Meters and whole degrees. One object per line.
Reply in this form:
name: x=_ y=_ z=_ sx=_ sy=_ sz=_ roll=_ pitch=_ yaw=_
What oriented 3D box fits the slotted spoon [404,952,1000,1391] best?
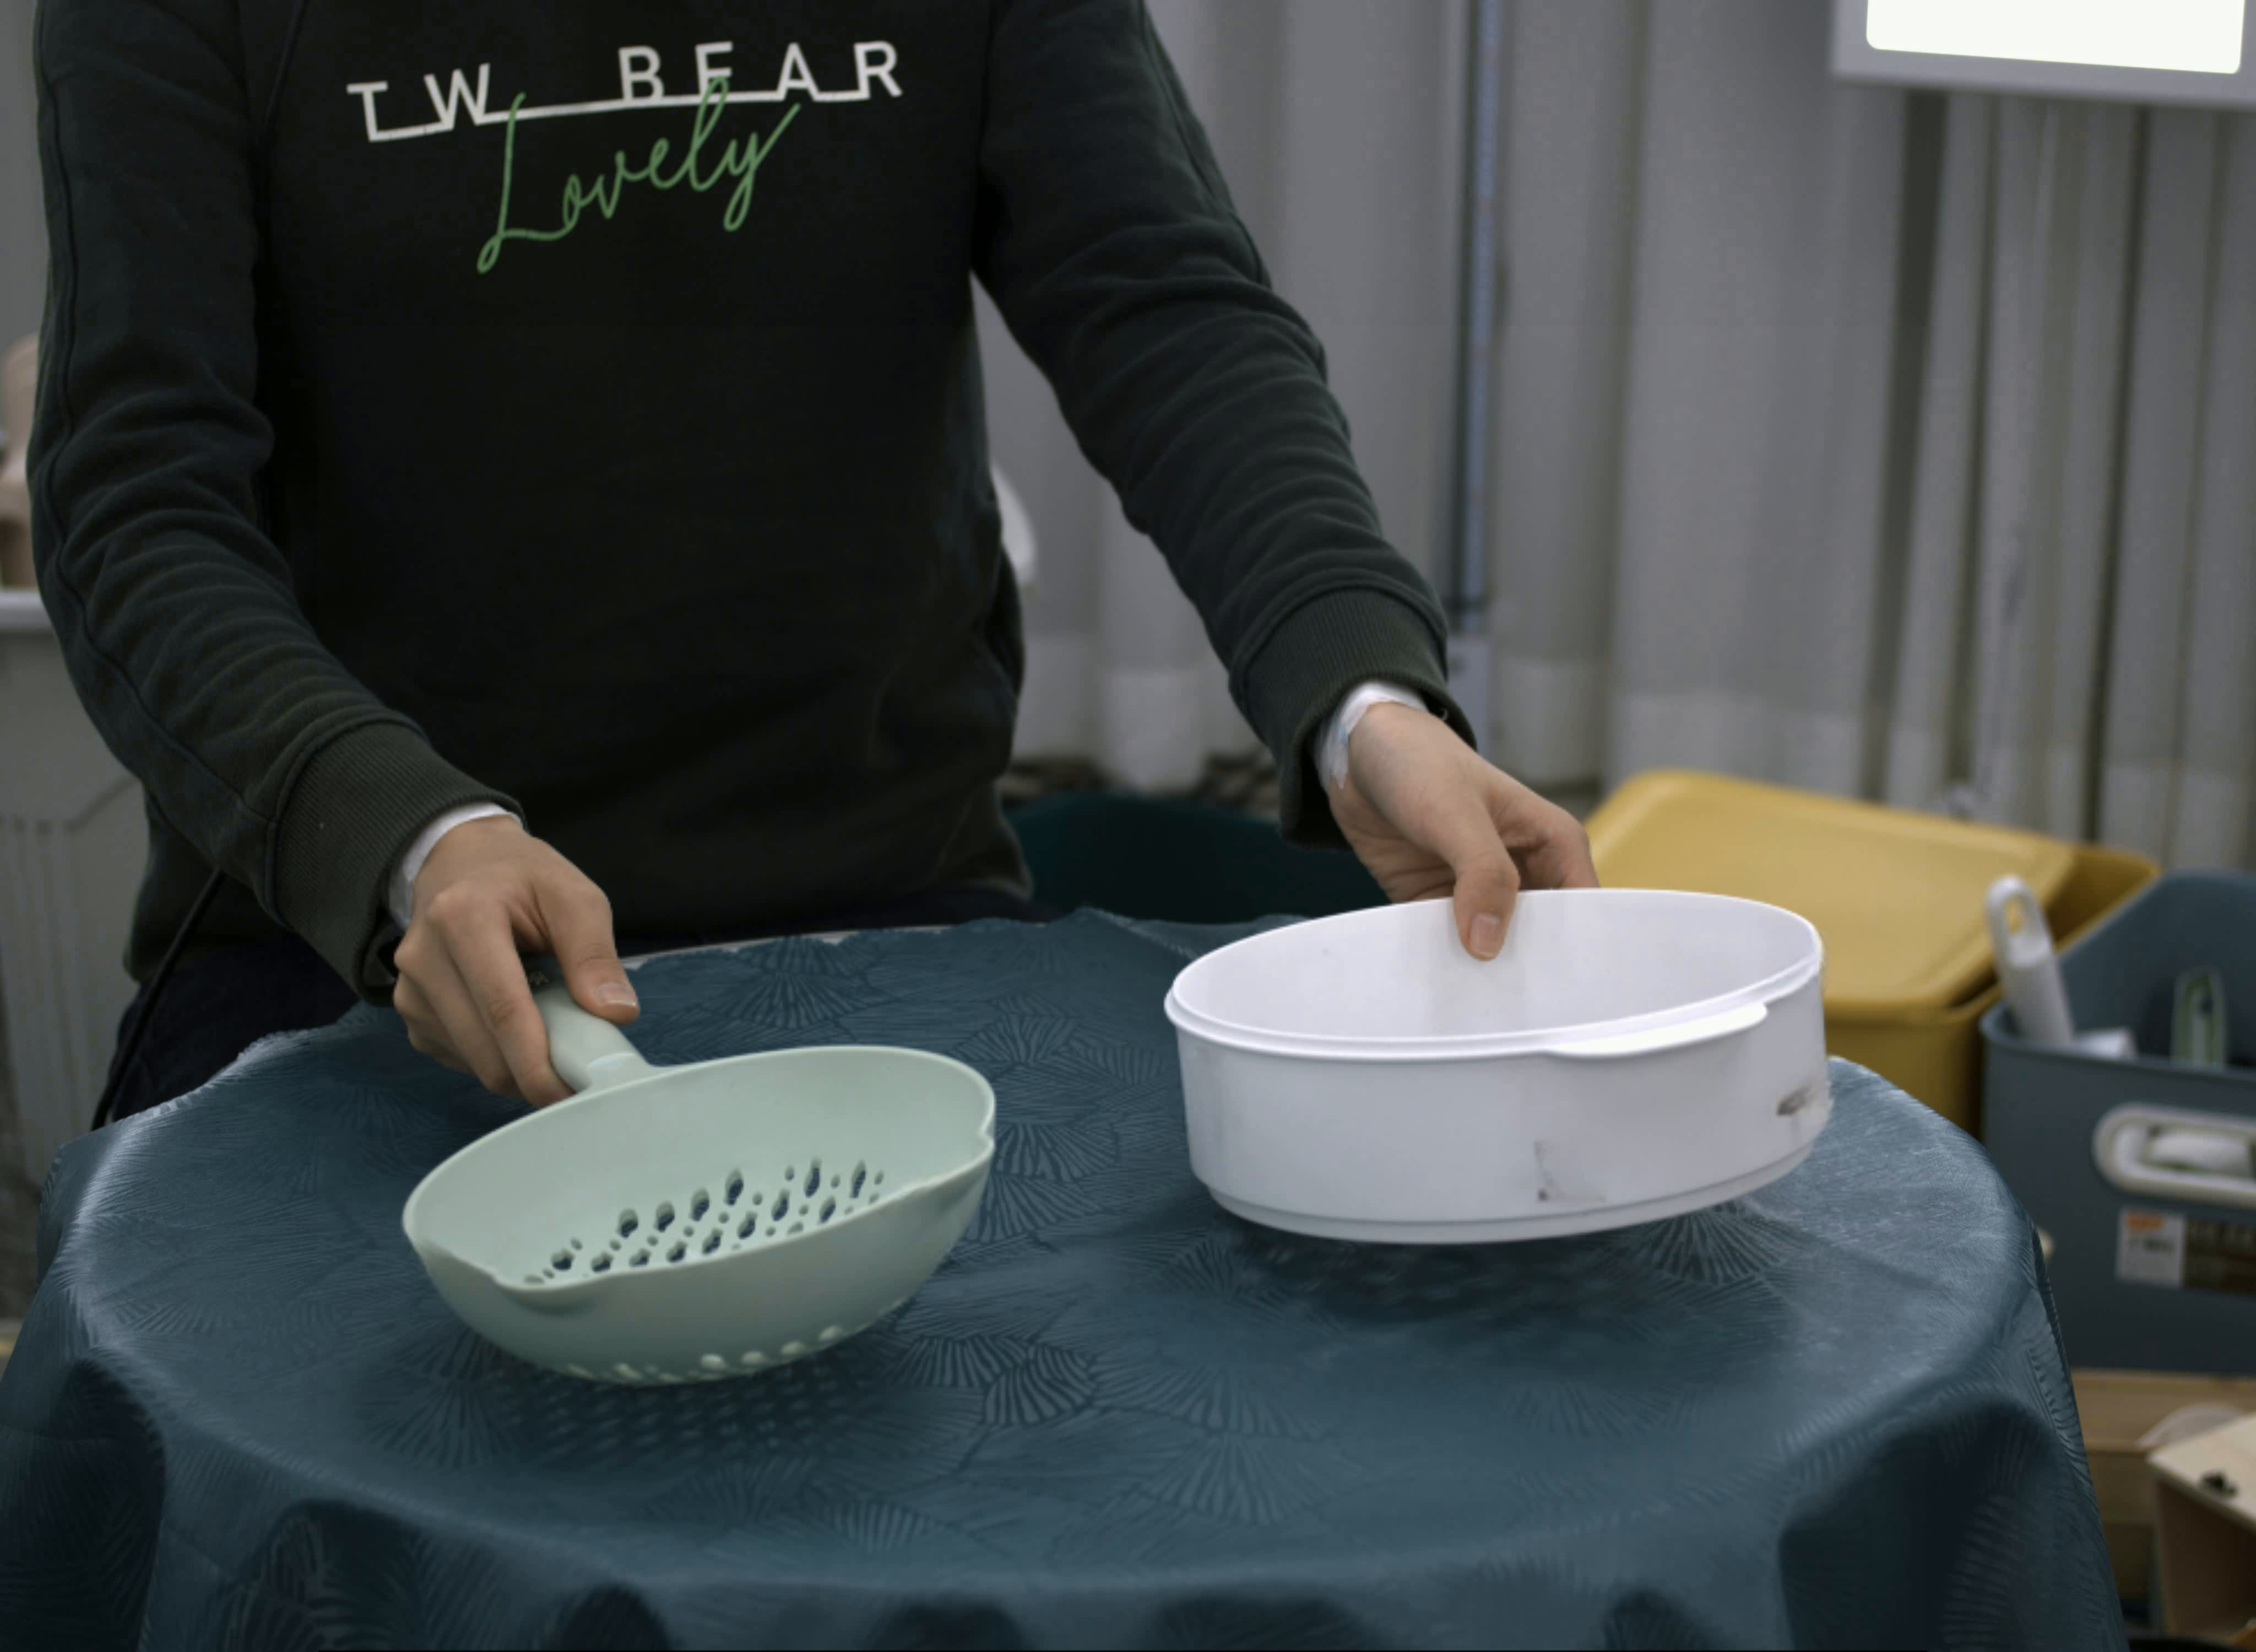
slotted spoon: x=-0.147 y=0.084 z=1.557 sx=0.169 sy=0.076 sz=0.354 roll=-14 pitch=24 yaw=-15

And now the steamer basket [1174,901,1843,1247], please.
steamer basket: x=0.116 y=0.074 z=1.586 sx=0.202 sy=0.070 sz=0.228 roll=-9 pitch=11 yaw=-25
